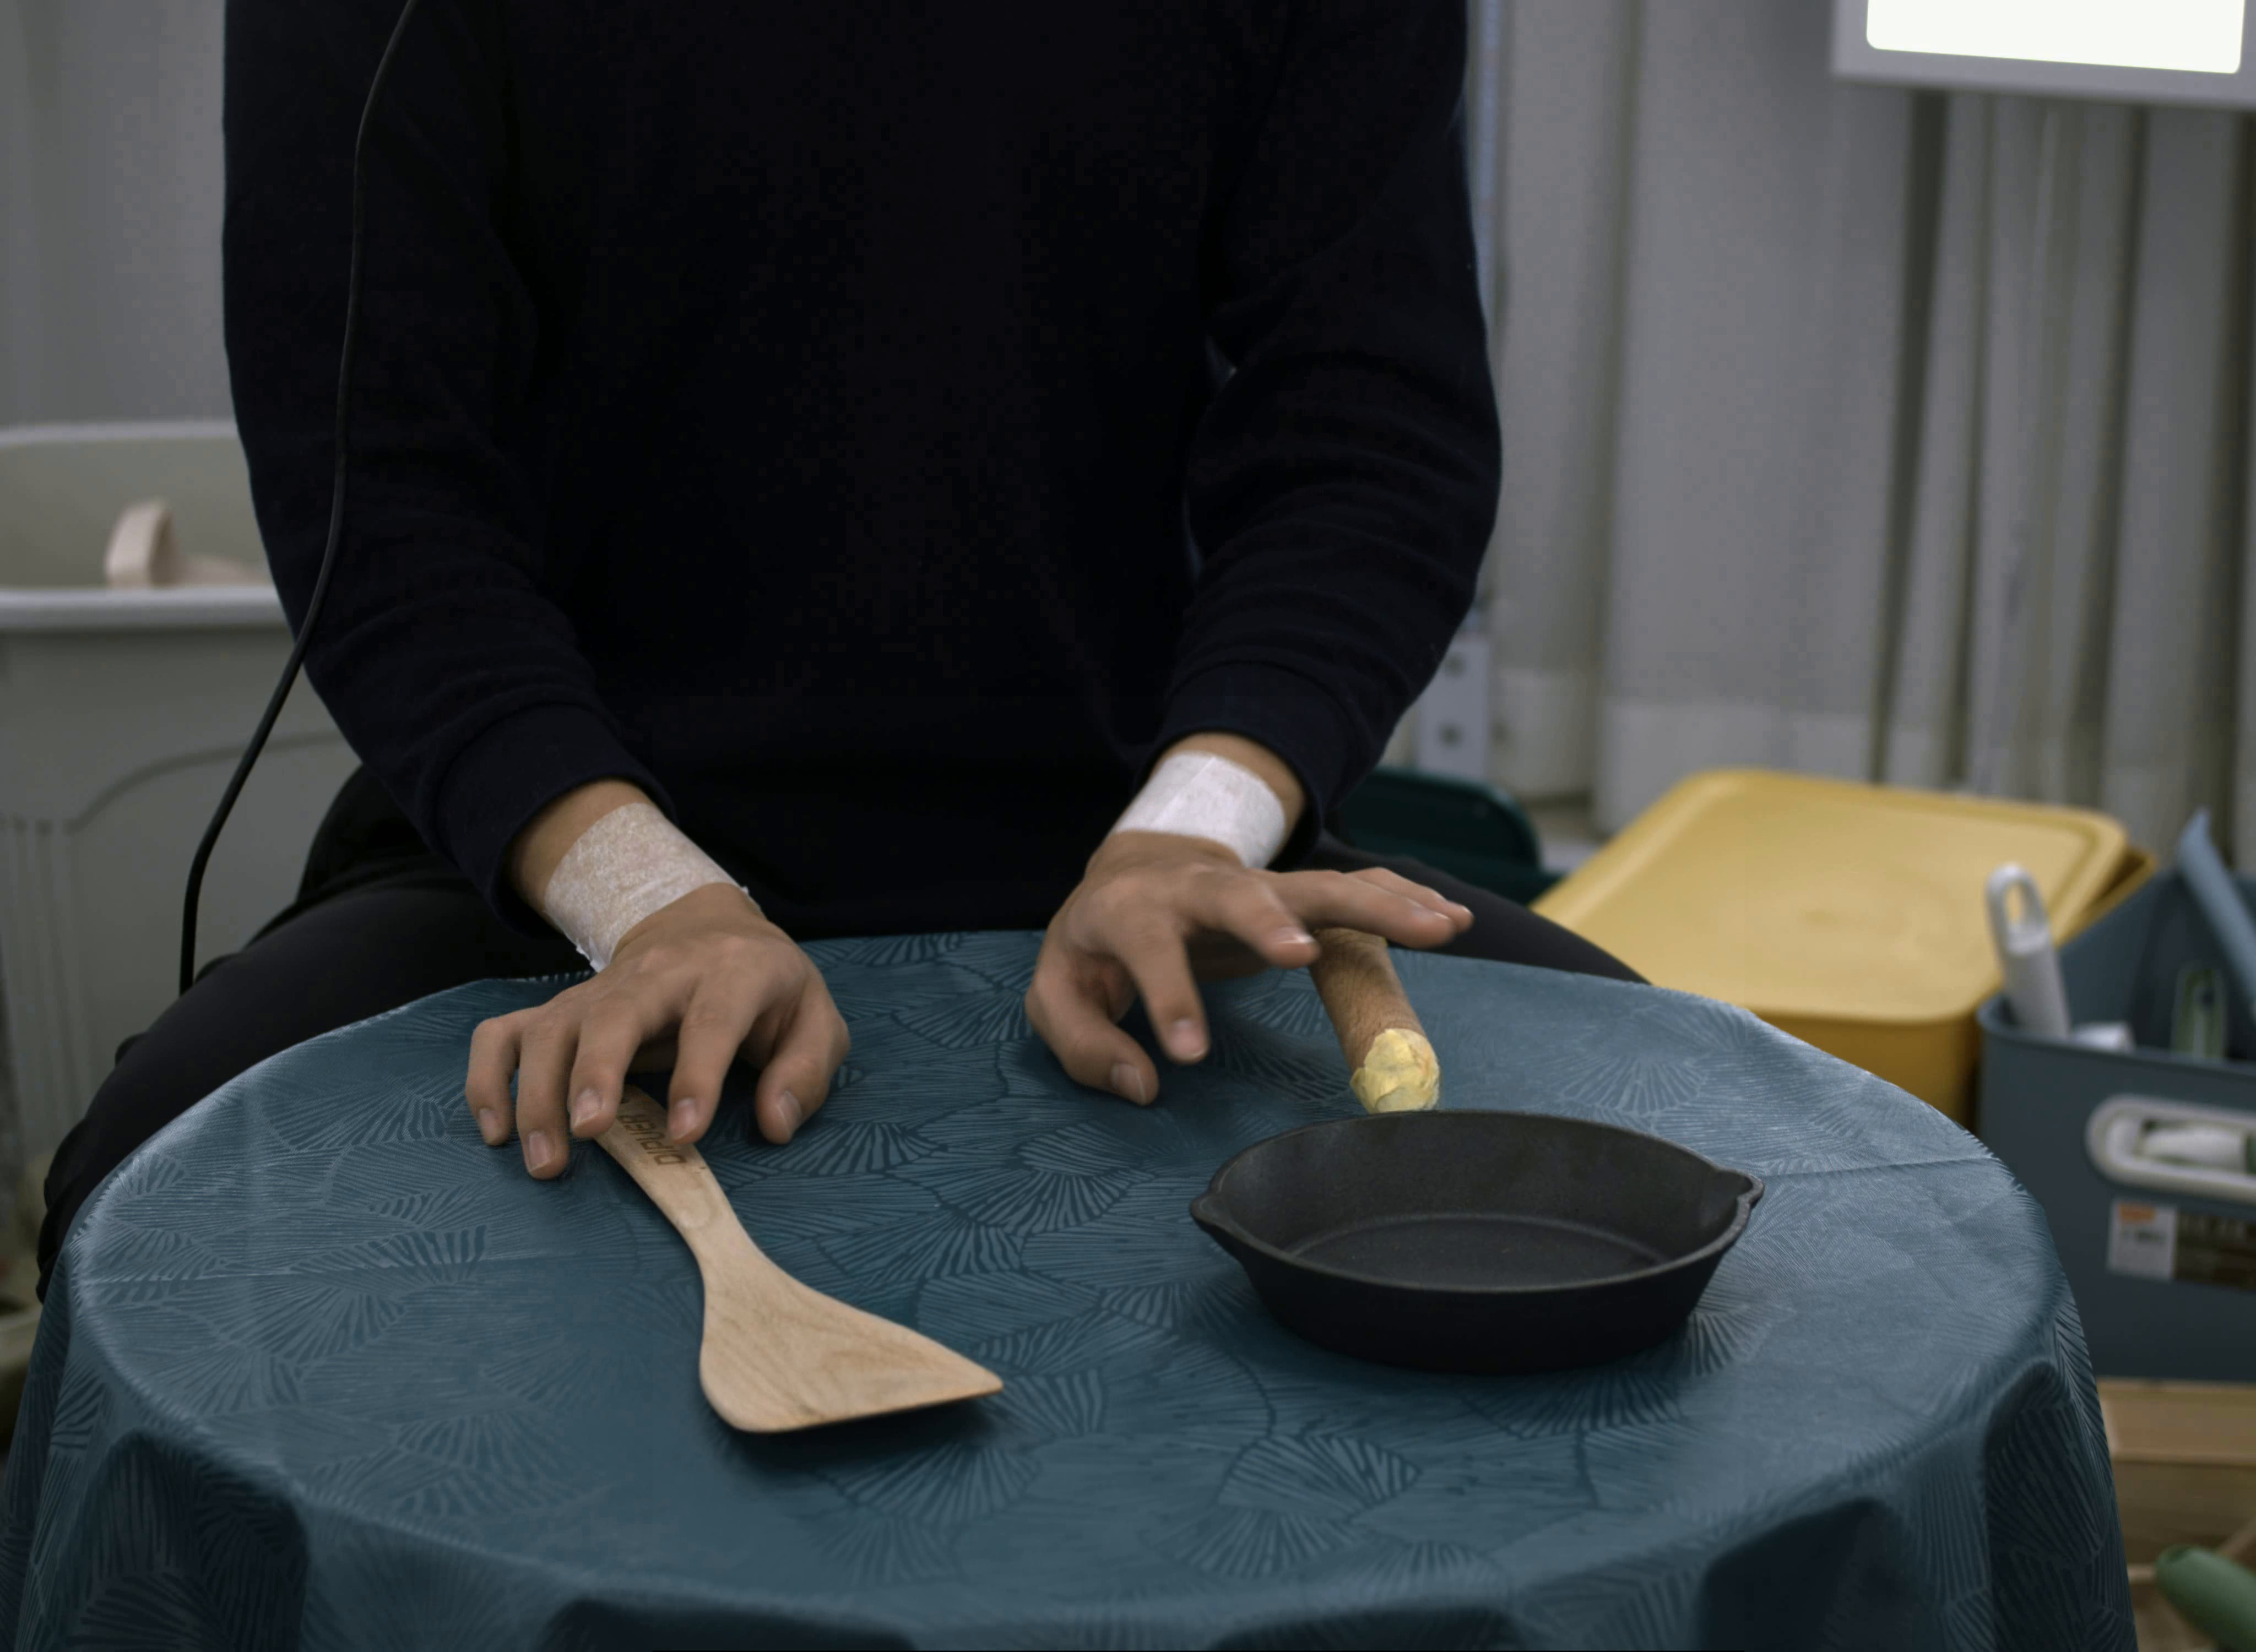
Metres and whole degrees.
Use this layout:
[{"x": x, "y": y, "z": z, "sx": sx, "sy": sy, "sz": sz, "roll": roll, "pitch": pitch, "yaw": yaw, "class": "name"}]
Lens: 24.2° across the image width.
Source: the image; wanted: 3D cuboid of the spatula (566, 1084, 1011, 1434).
[{"x": -0.116, "y": 0.123, "z": 1.551, "sx": 0.080, "sy": 0.016, "sz": 0.324, "roll": -4, "pitch": 16, "yaw": -19, "class": "spatula"}]

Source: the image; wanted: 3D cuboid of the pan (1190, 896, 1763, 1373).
[{"x": 0.092, "y": 0.091, "z": 1.608, "sx": 0.169, "sy": 0.050, "sz": 0.321, "roll": -1, "pitch": 17, "yaw": -7, "class": "pan"}]
